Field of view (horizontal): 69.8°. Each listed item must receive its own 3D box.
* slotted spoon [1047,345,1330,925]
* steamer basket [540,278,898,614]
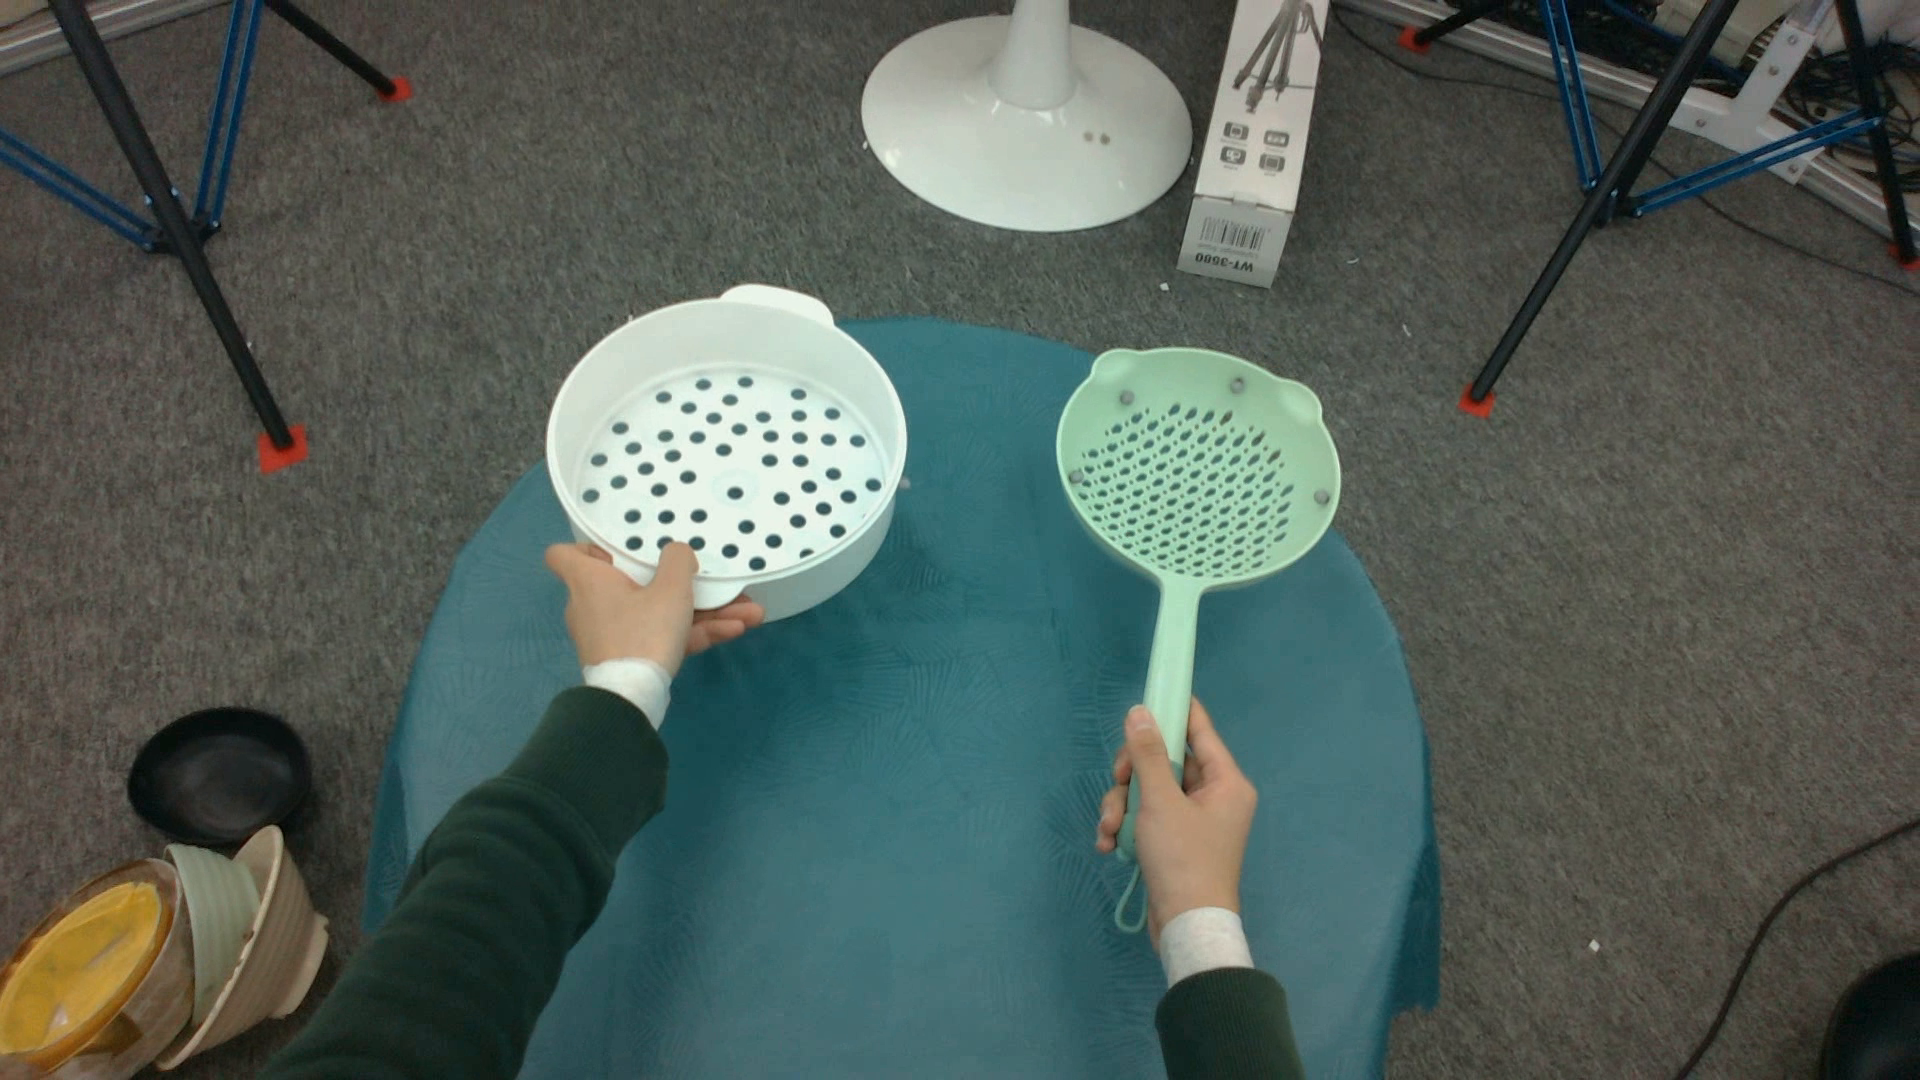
[{"bbox_3d":[0.115,0.035,0.766,0.169,0.075,0.360,12,48,3],"label":"slotted spoon"},{"bbox_3d":[-0.139,-0.051,0.810,0.202,0.069,0.231,11,56,1],"label":"steamer basket"}]
